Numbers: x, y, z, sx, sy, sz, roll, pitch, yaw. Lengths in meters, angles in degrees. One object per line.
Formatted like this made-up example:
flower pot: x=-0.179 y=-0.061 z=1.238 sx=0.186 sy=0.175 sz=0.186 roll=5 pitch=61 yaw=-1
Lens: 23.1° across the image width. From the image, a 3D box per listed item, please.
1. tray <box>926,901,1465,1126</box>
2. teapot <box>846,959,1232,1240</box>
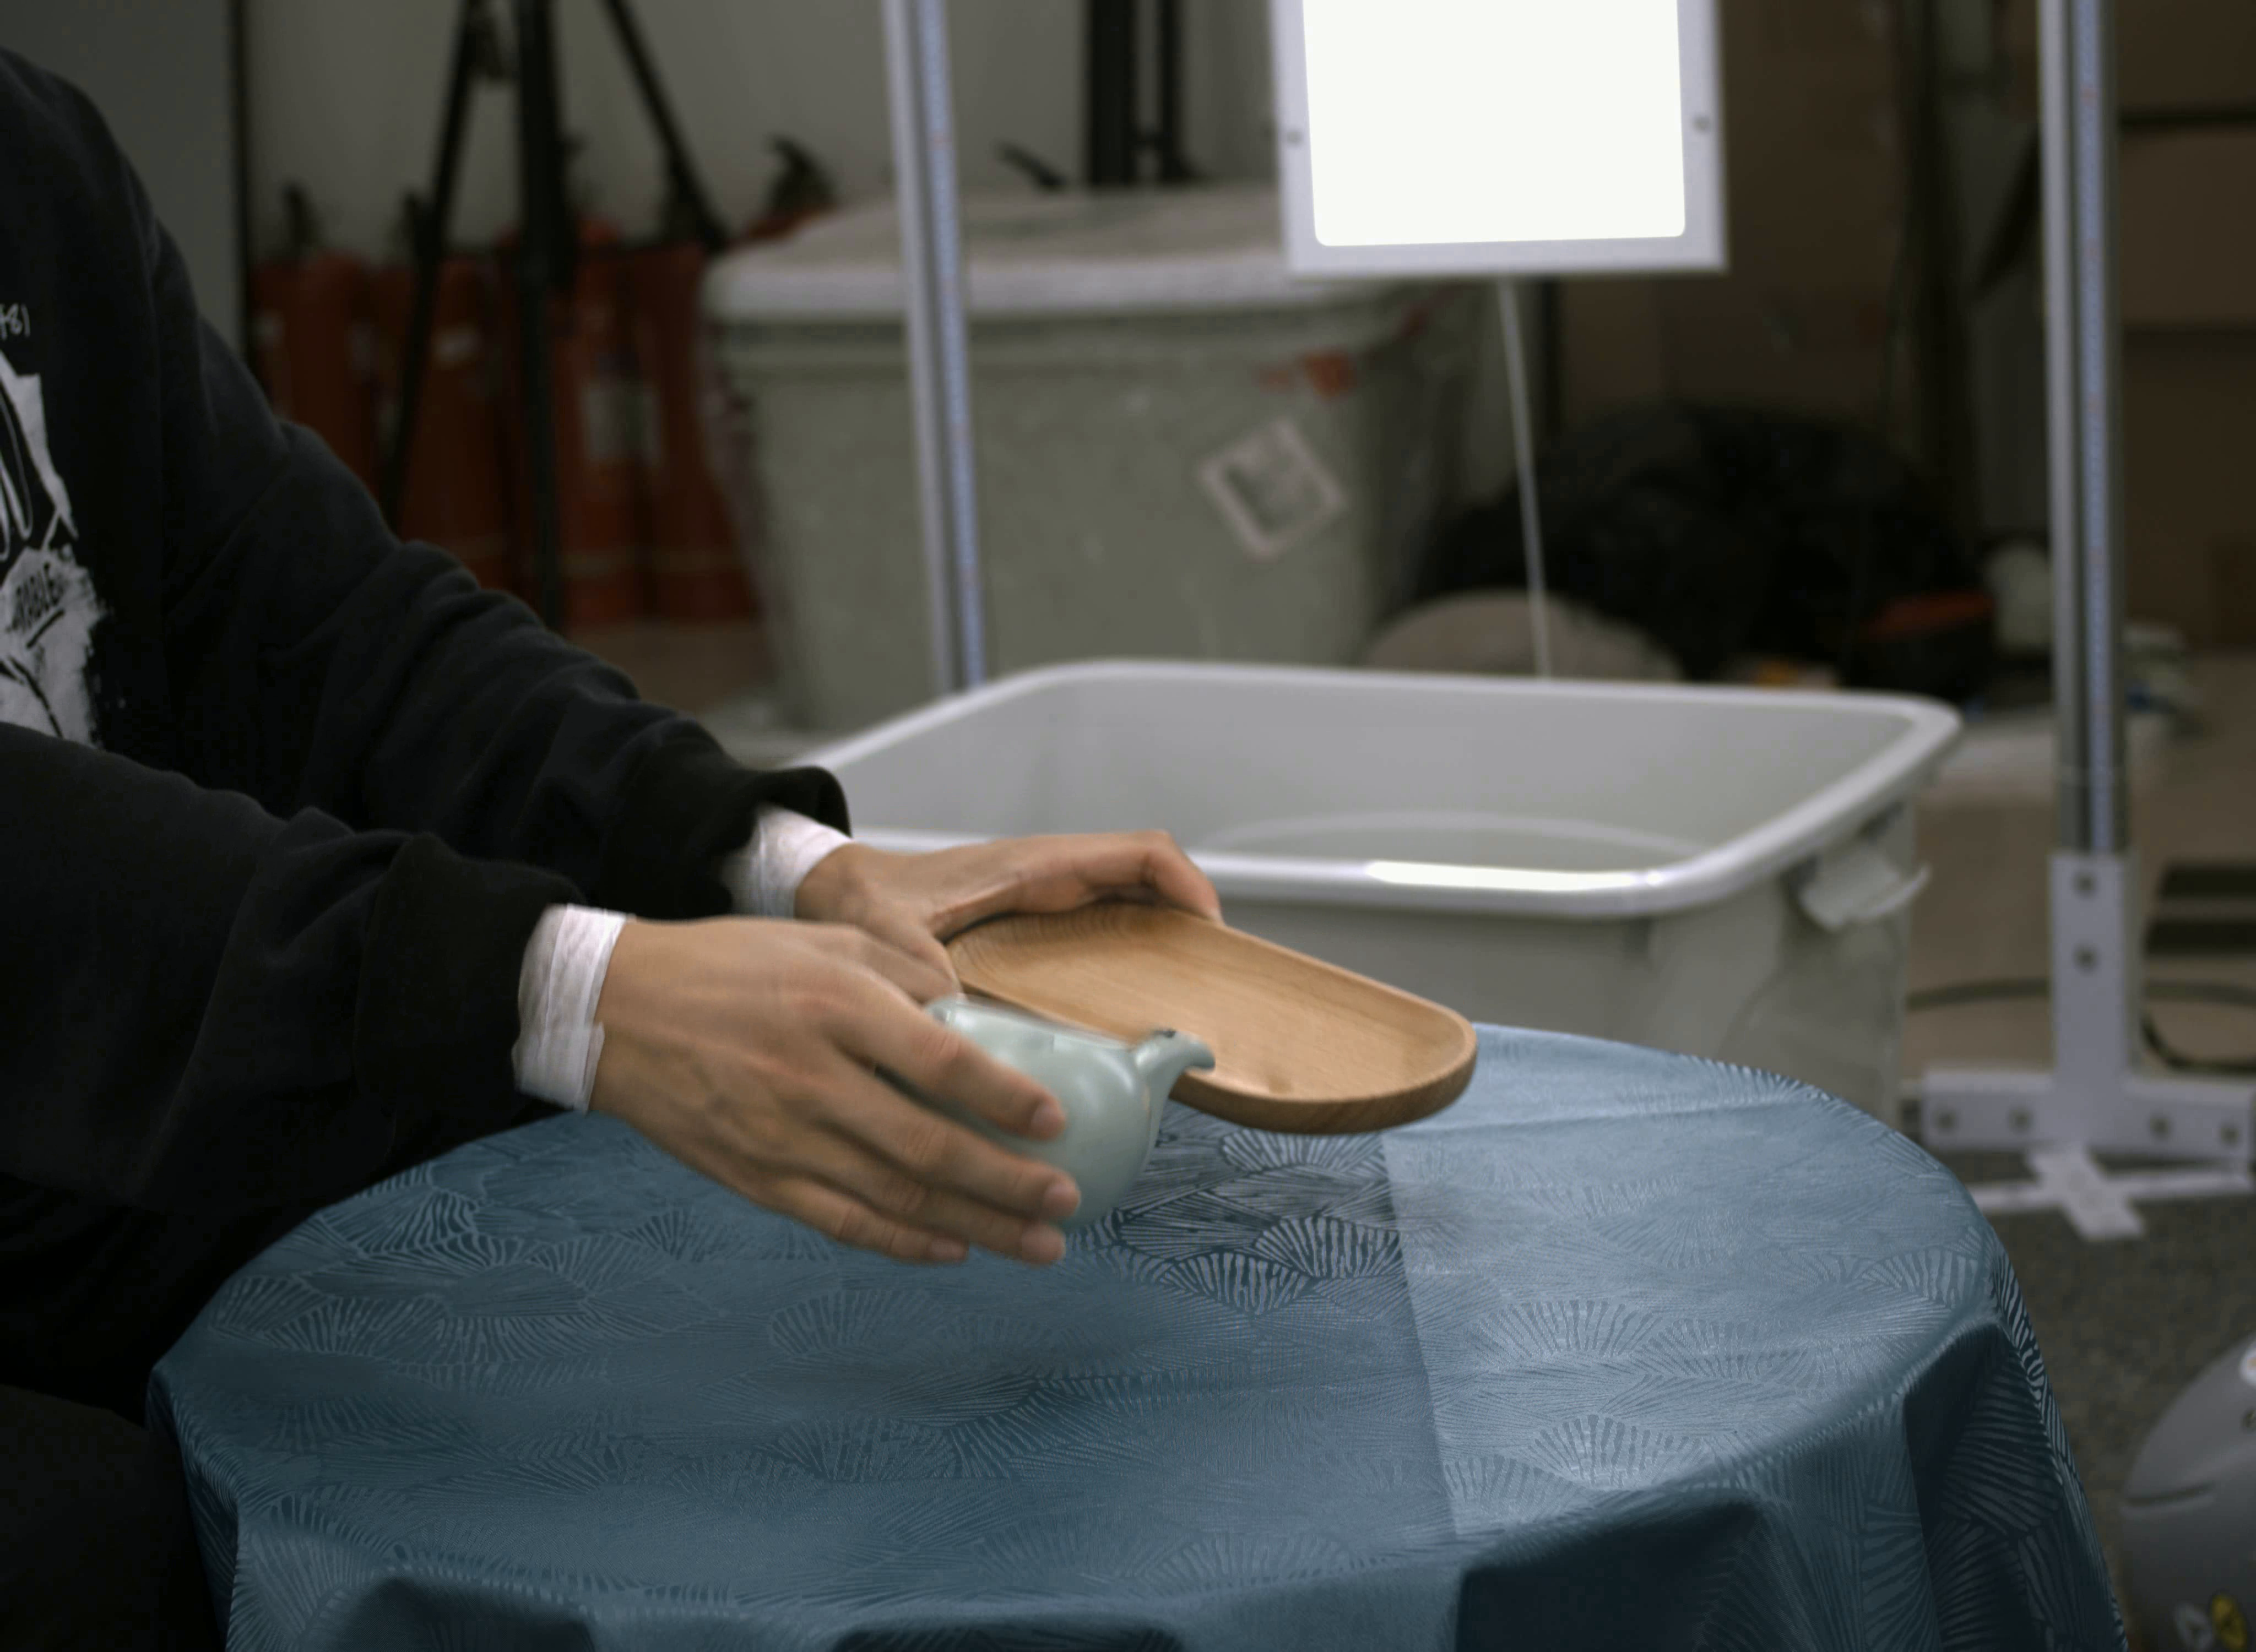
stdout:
tray: x=0.021 y=0.063 z=1.884 sx=0.099 sy=0.020 sz=0.236 roll=-16 pitch=20 yaw=-35
teapot: x=-0.031 y=0.088 z=1.713 sx=0.140 sy=0.075 sz=0.090 roll=14 pitch=1 yaw=-34
